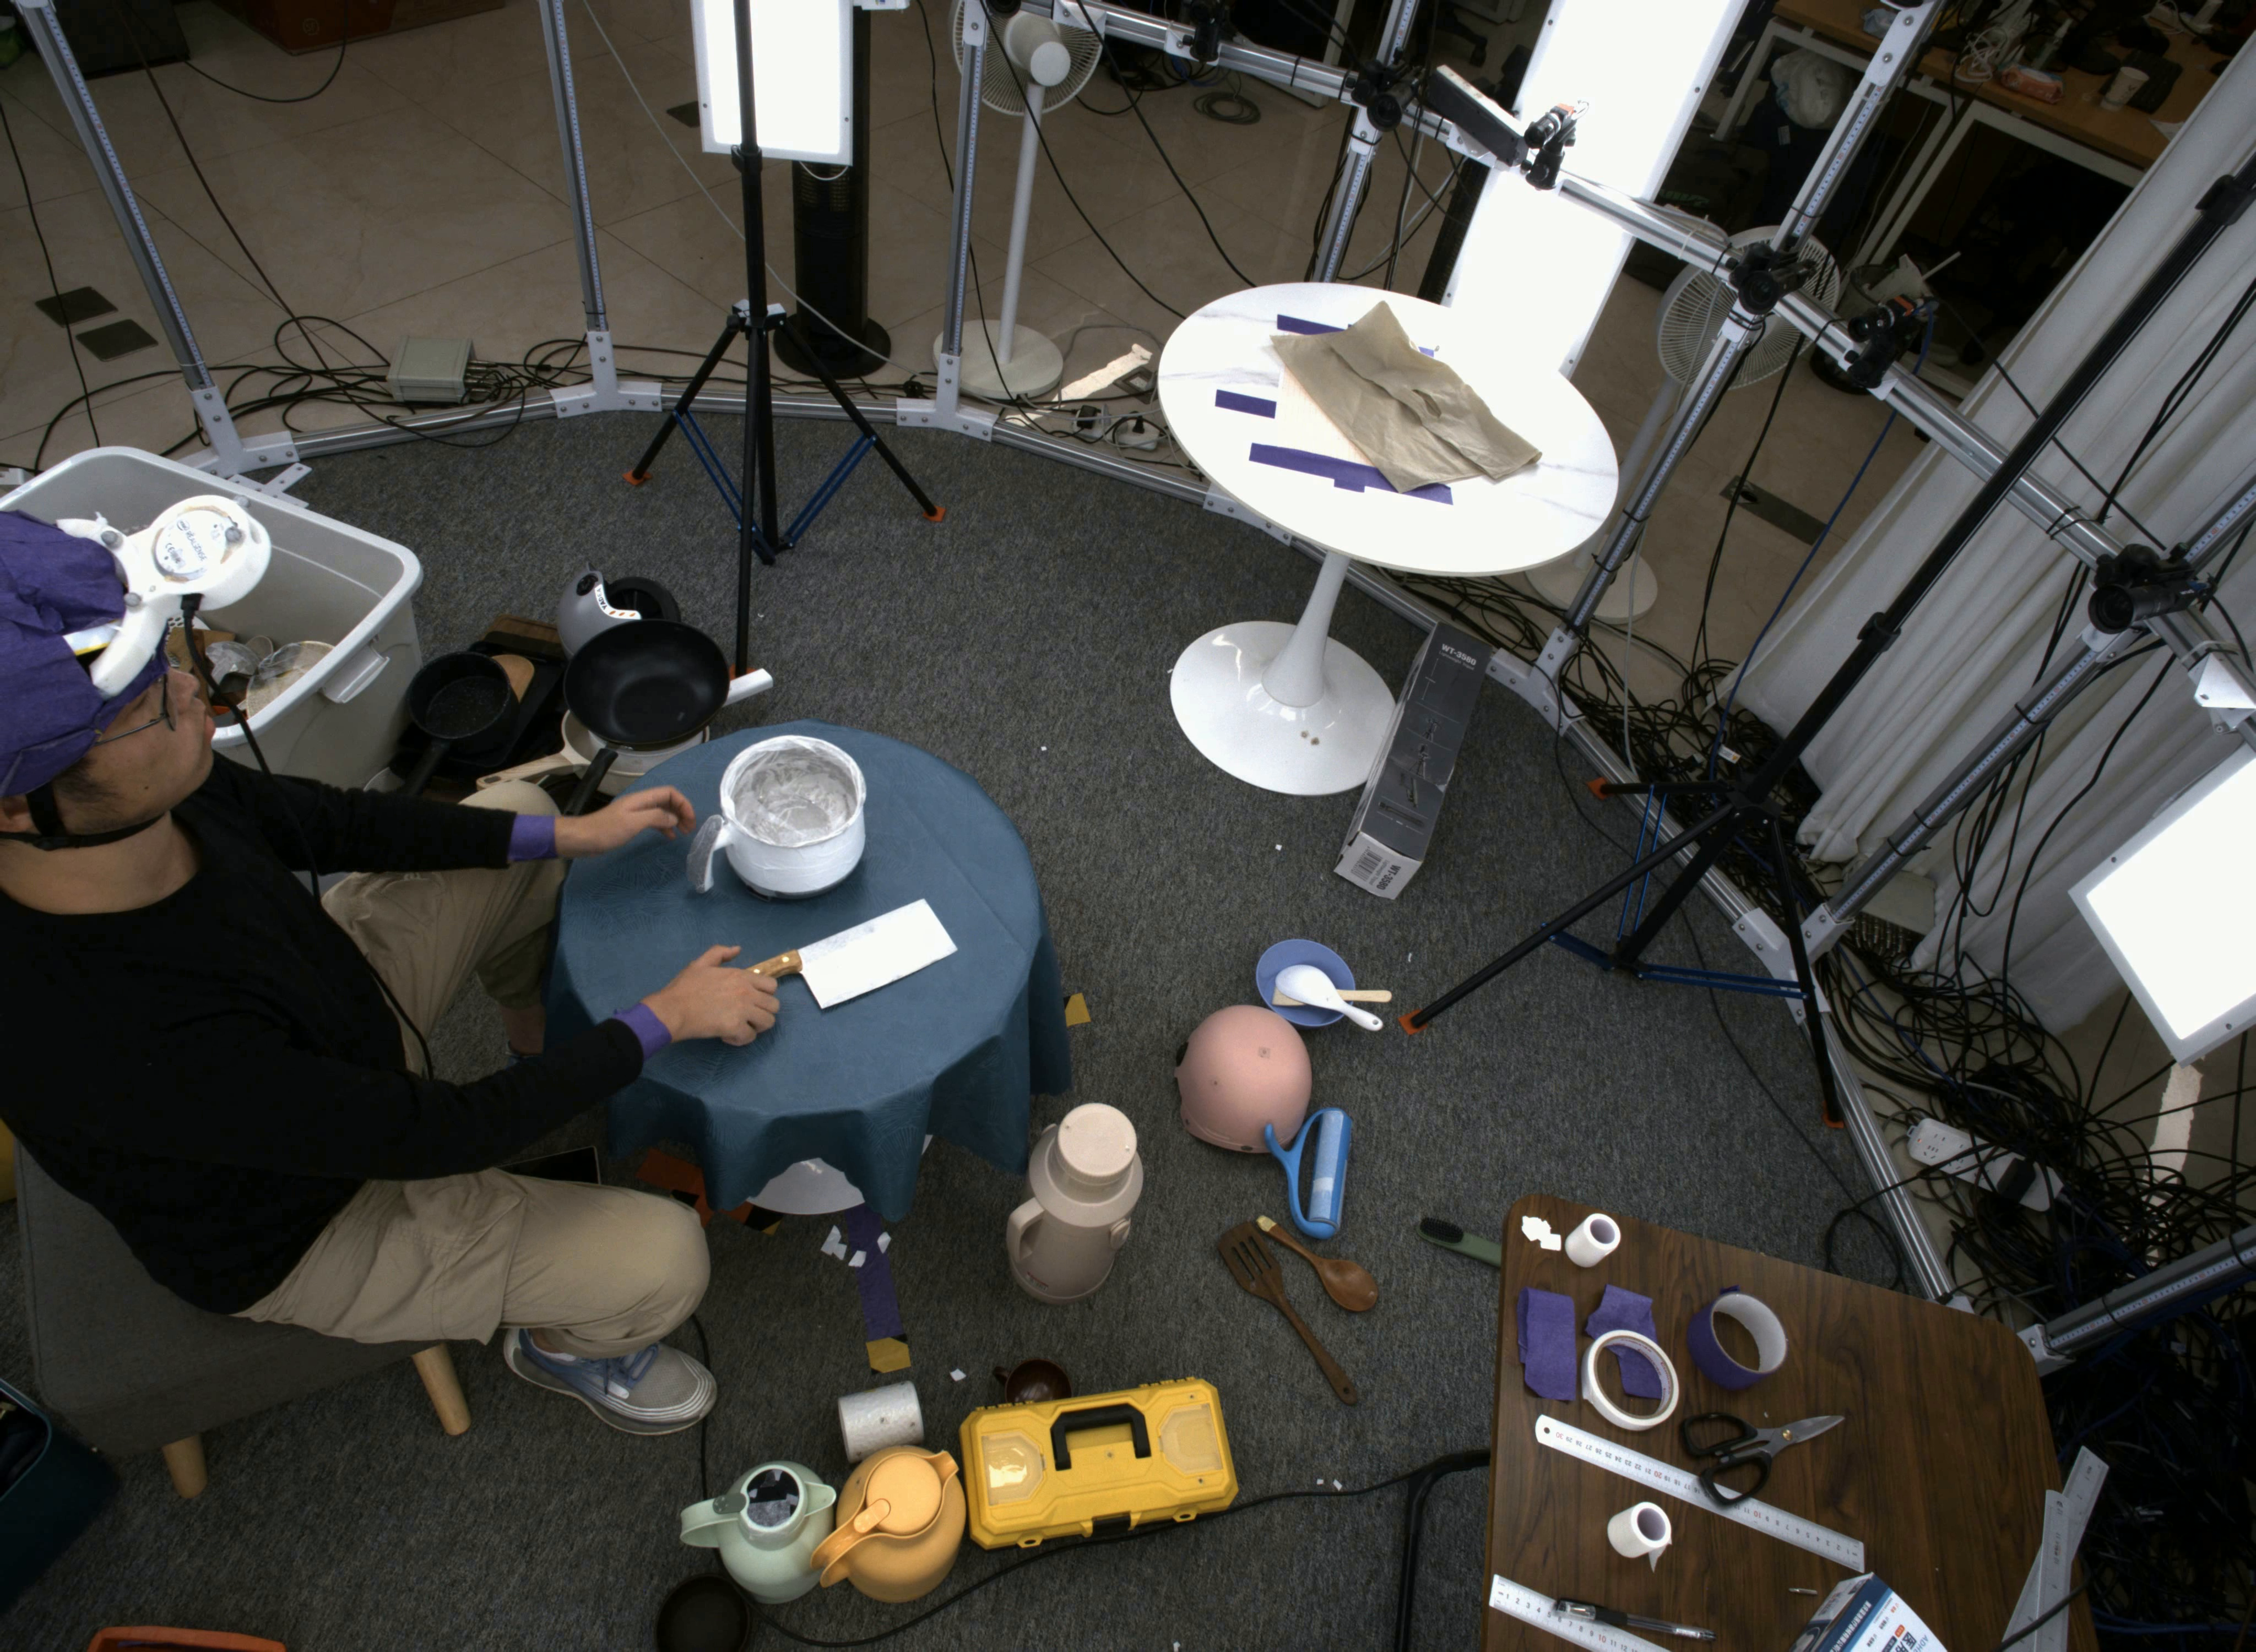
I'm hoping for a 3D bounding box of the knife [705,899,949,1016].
[{"bbox_3d":[-0.363,0.174,1.599,0.307,0.021,0.090,-23,62,-30],"label":"knife"}]

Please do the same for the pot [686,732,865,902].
[{"bbox_3d":[-0.444,0.001,1.625,0.235,0.139,0.174,-27,62,-30],"label":"pot"}]
